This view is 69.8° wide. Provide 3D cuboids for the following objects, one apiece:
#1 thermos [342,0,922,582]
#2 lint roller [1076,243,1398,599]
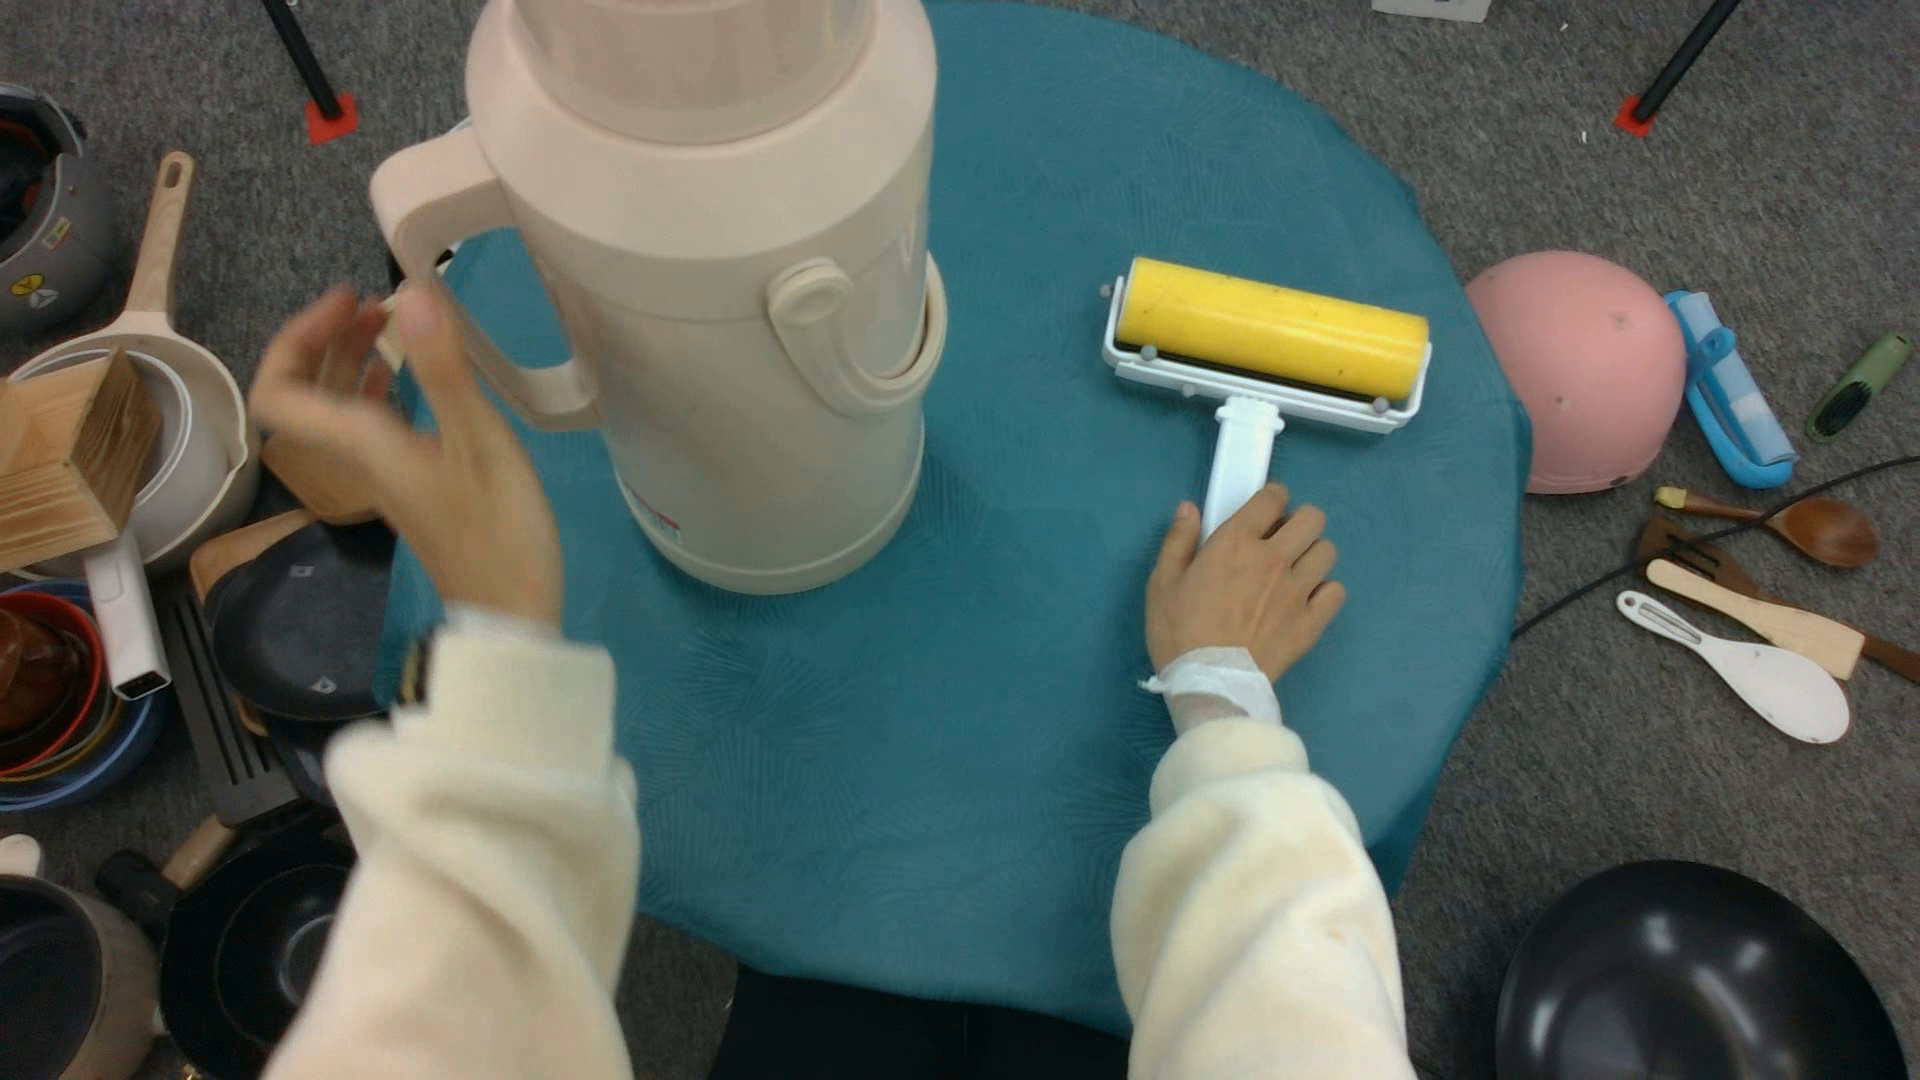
[{"bbox_3d":[-0.114,-0.122,0.551,0.207,0.405,0.175,-25,71,-13],"label":"thermos"},{"bbox_3d":[0.141,-0.063,0.729,0.174,0.051,0.193,11,61,1],"label":"lint roller"}]
